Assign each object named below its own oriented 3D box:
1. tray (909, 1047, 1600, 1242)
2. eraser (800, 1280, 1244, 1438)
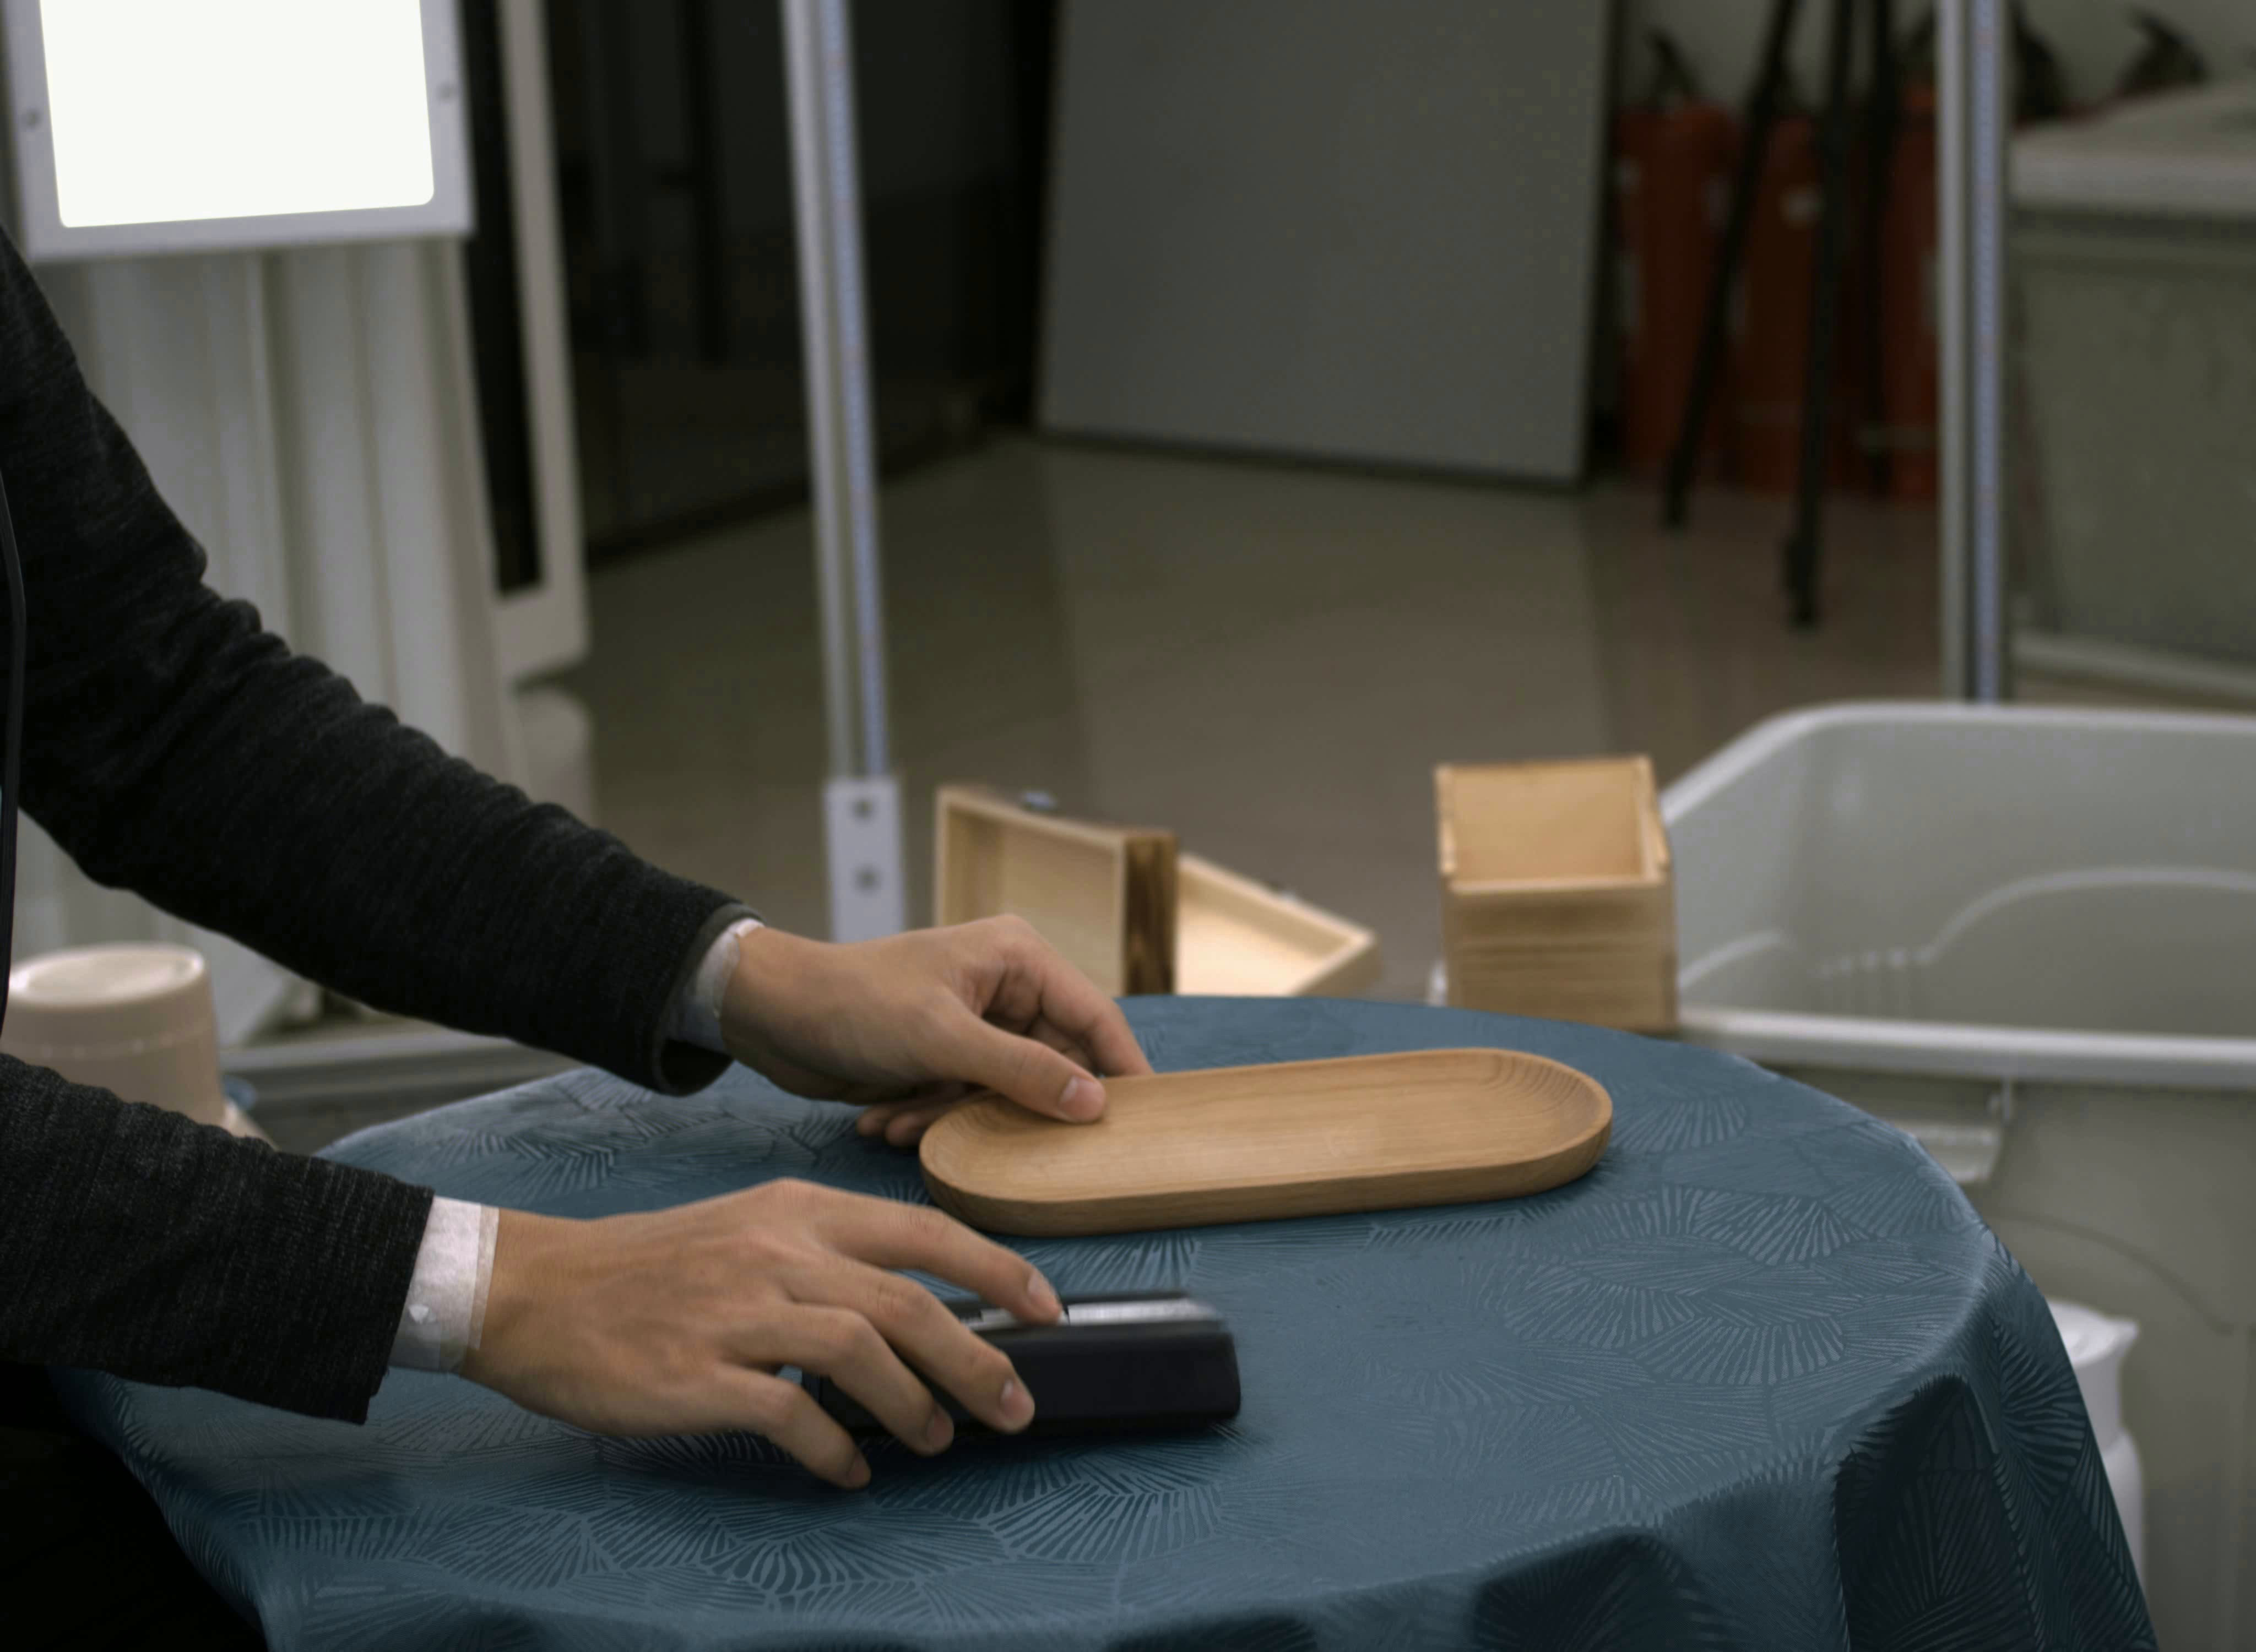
[{"bbox_3d":[0.042,0.105,1.772,0.228,0.020,0.102,-7,19,-3],"label":"tray"},{"bbox_3d":[-0.030,0.153,1.553,0.123,0.031,0.054,-4,8,-7],"label":"eraser"}]
